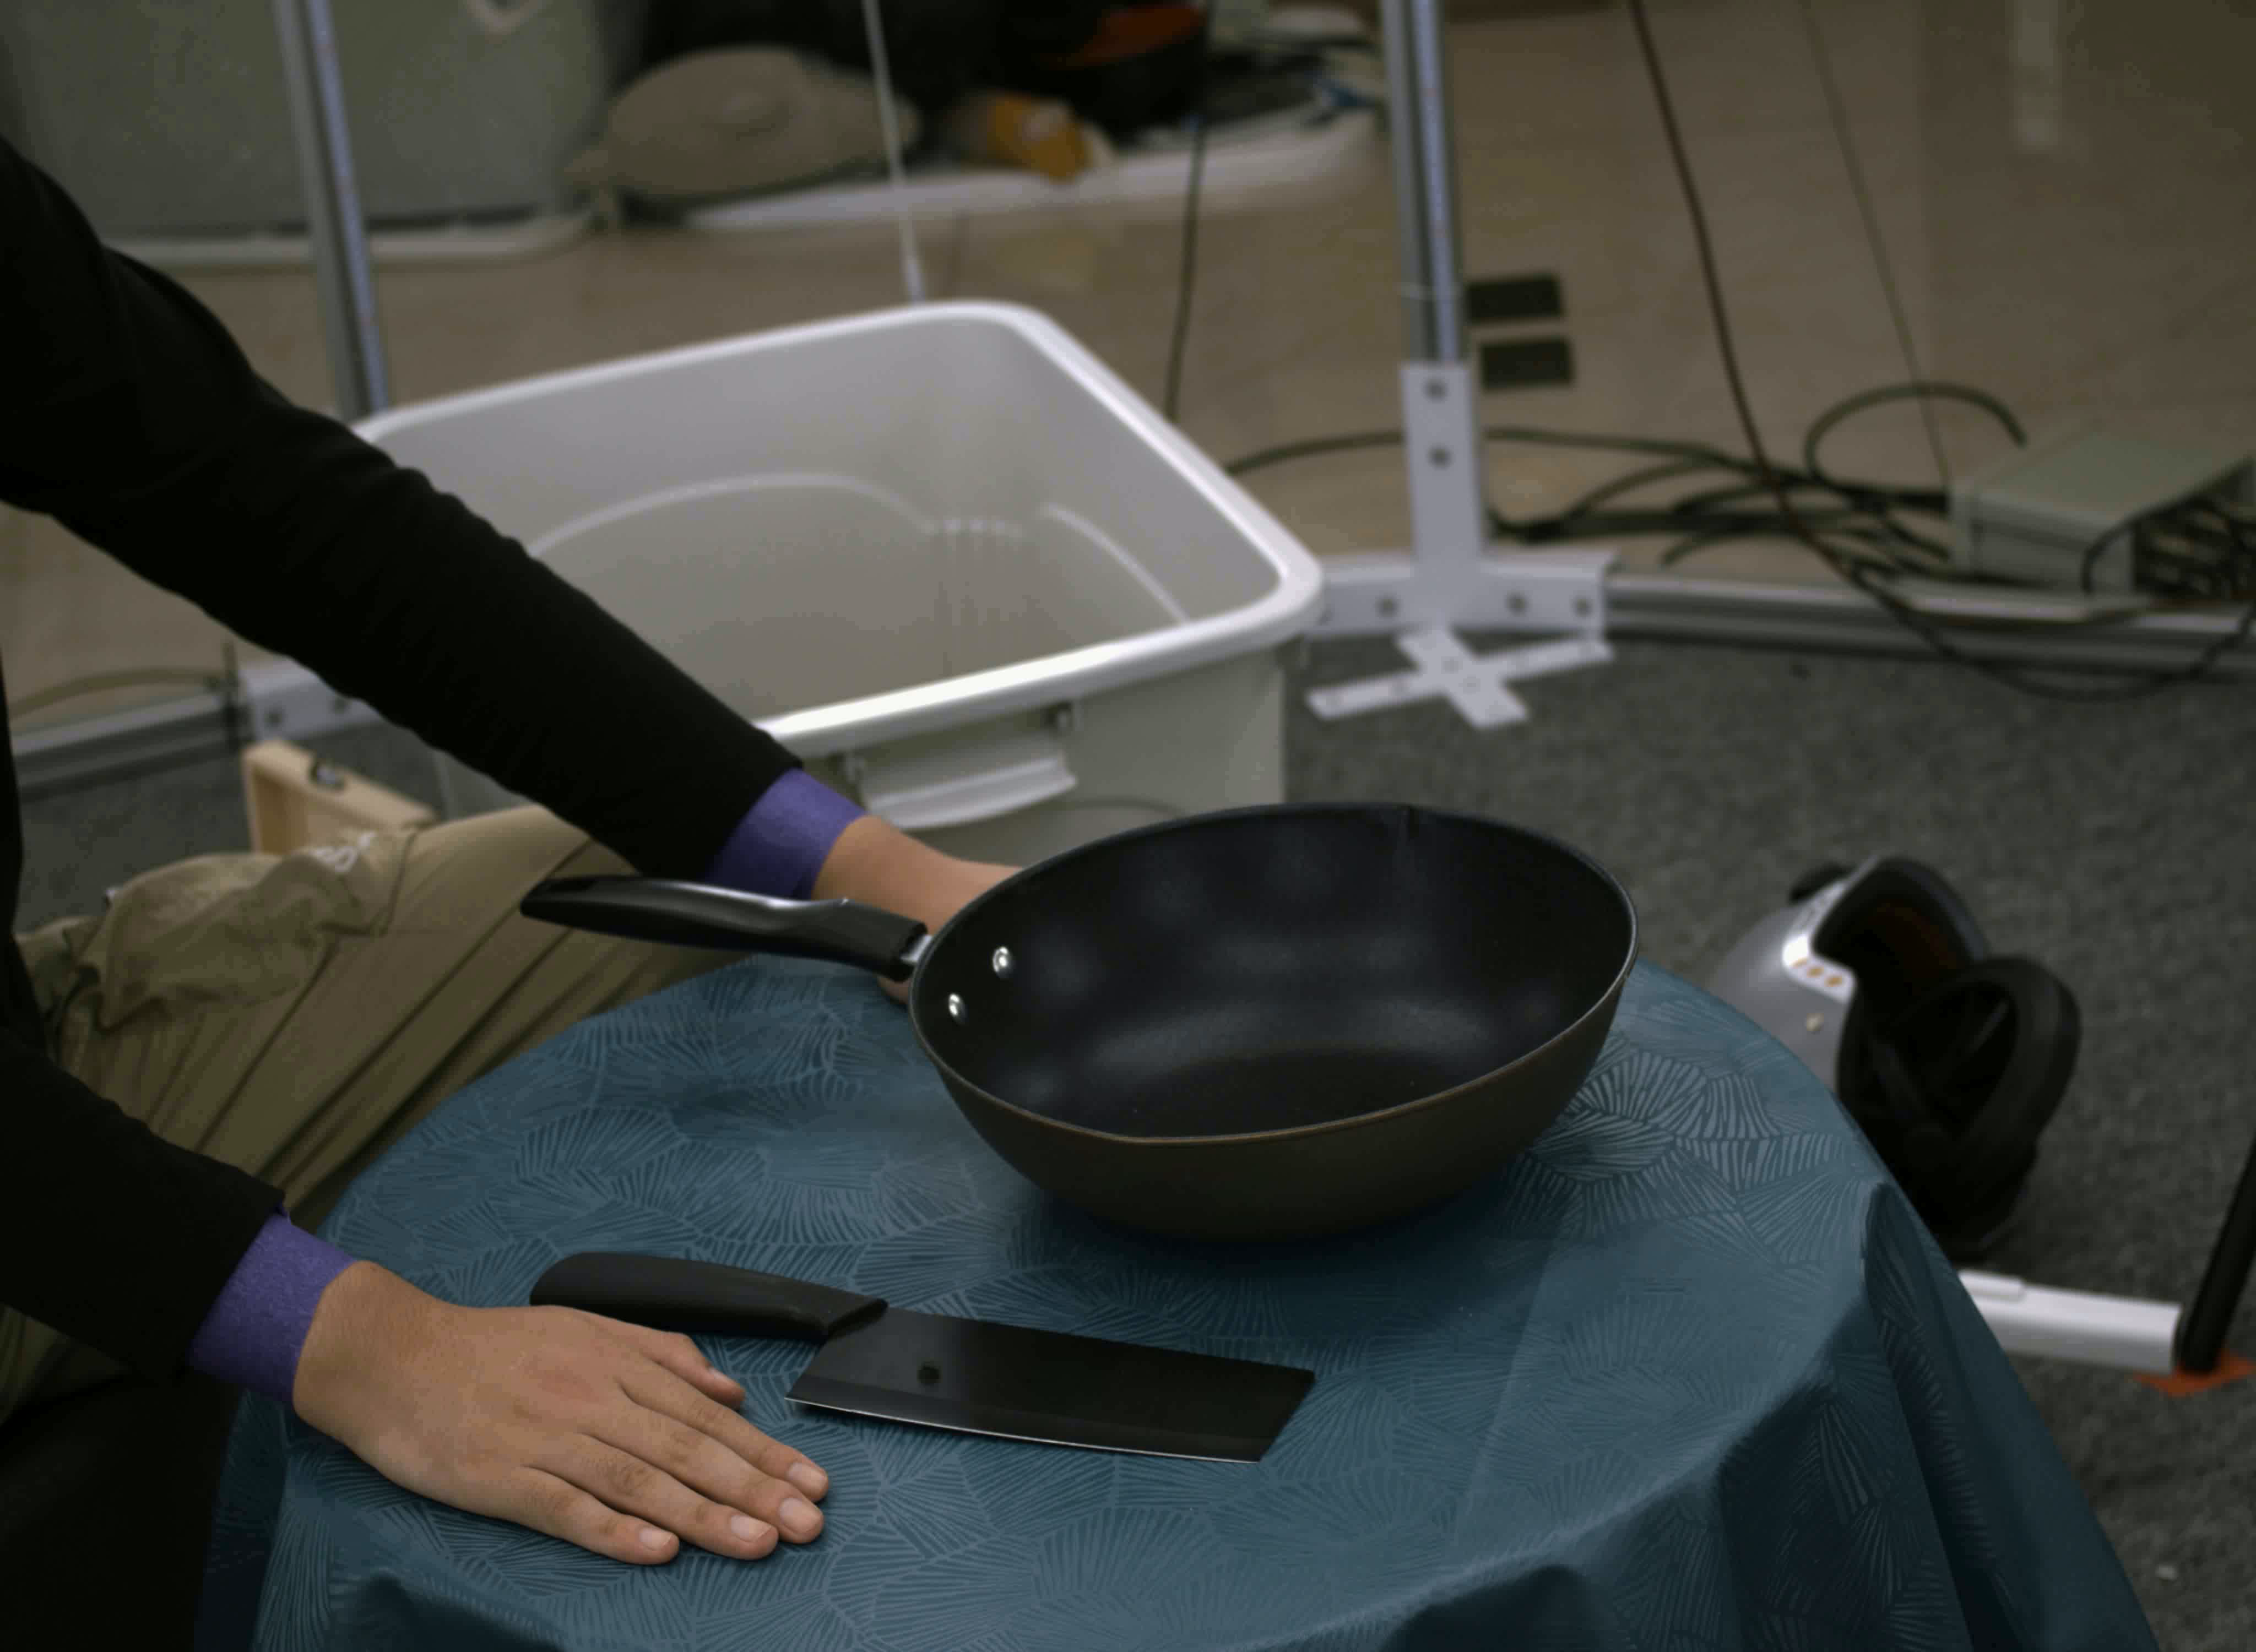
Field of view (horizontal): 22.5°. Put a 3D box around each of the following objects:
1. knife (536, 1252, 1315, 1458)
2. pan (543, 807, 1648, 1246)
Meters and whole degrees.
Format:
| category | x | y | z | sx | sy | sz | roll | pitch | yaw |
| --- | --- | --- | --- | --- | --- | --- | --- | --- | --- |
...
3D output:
| category | x | y | z | sx | sy | sz | roll | pitch | yaw |
| --- | --- | --- | --- | --- | --- | --- | --- | --- | --- |
| knife | -0.080 | 0.190 | 2.044 | 0.301 | 0.021 | 0.080 | 9 | 30 | 26 |
| pan | -0.022 | 0.078 | 2.189 | 0.462 | 0.088 | 0.284 | 5 | 27 | 25 |
